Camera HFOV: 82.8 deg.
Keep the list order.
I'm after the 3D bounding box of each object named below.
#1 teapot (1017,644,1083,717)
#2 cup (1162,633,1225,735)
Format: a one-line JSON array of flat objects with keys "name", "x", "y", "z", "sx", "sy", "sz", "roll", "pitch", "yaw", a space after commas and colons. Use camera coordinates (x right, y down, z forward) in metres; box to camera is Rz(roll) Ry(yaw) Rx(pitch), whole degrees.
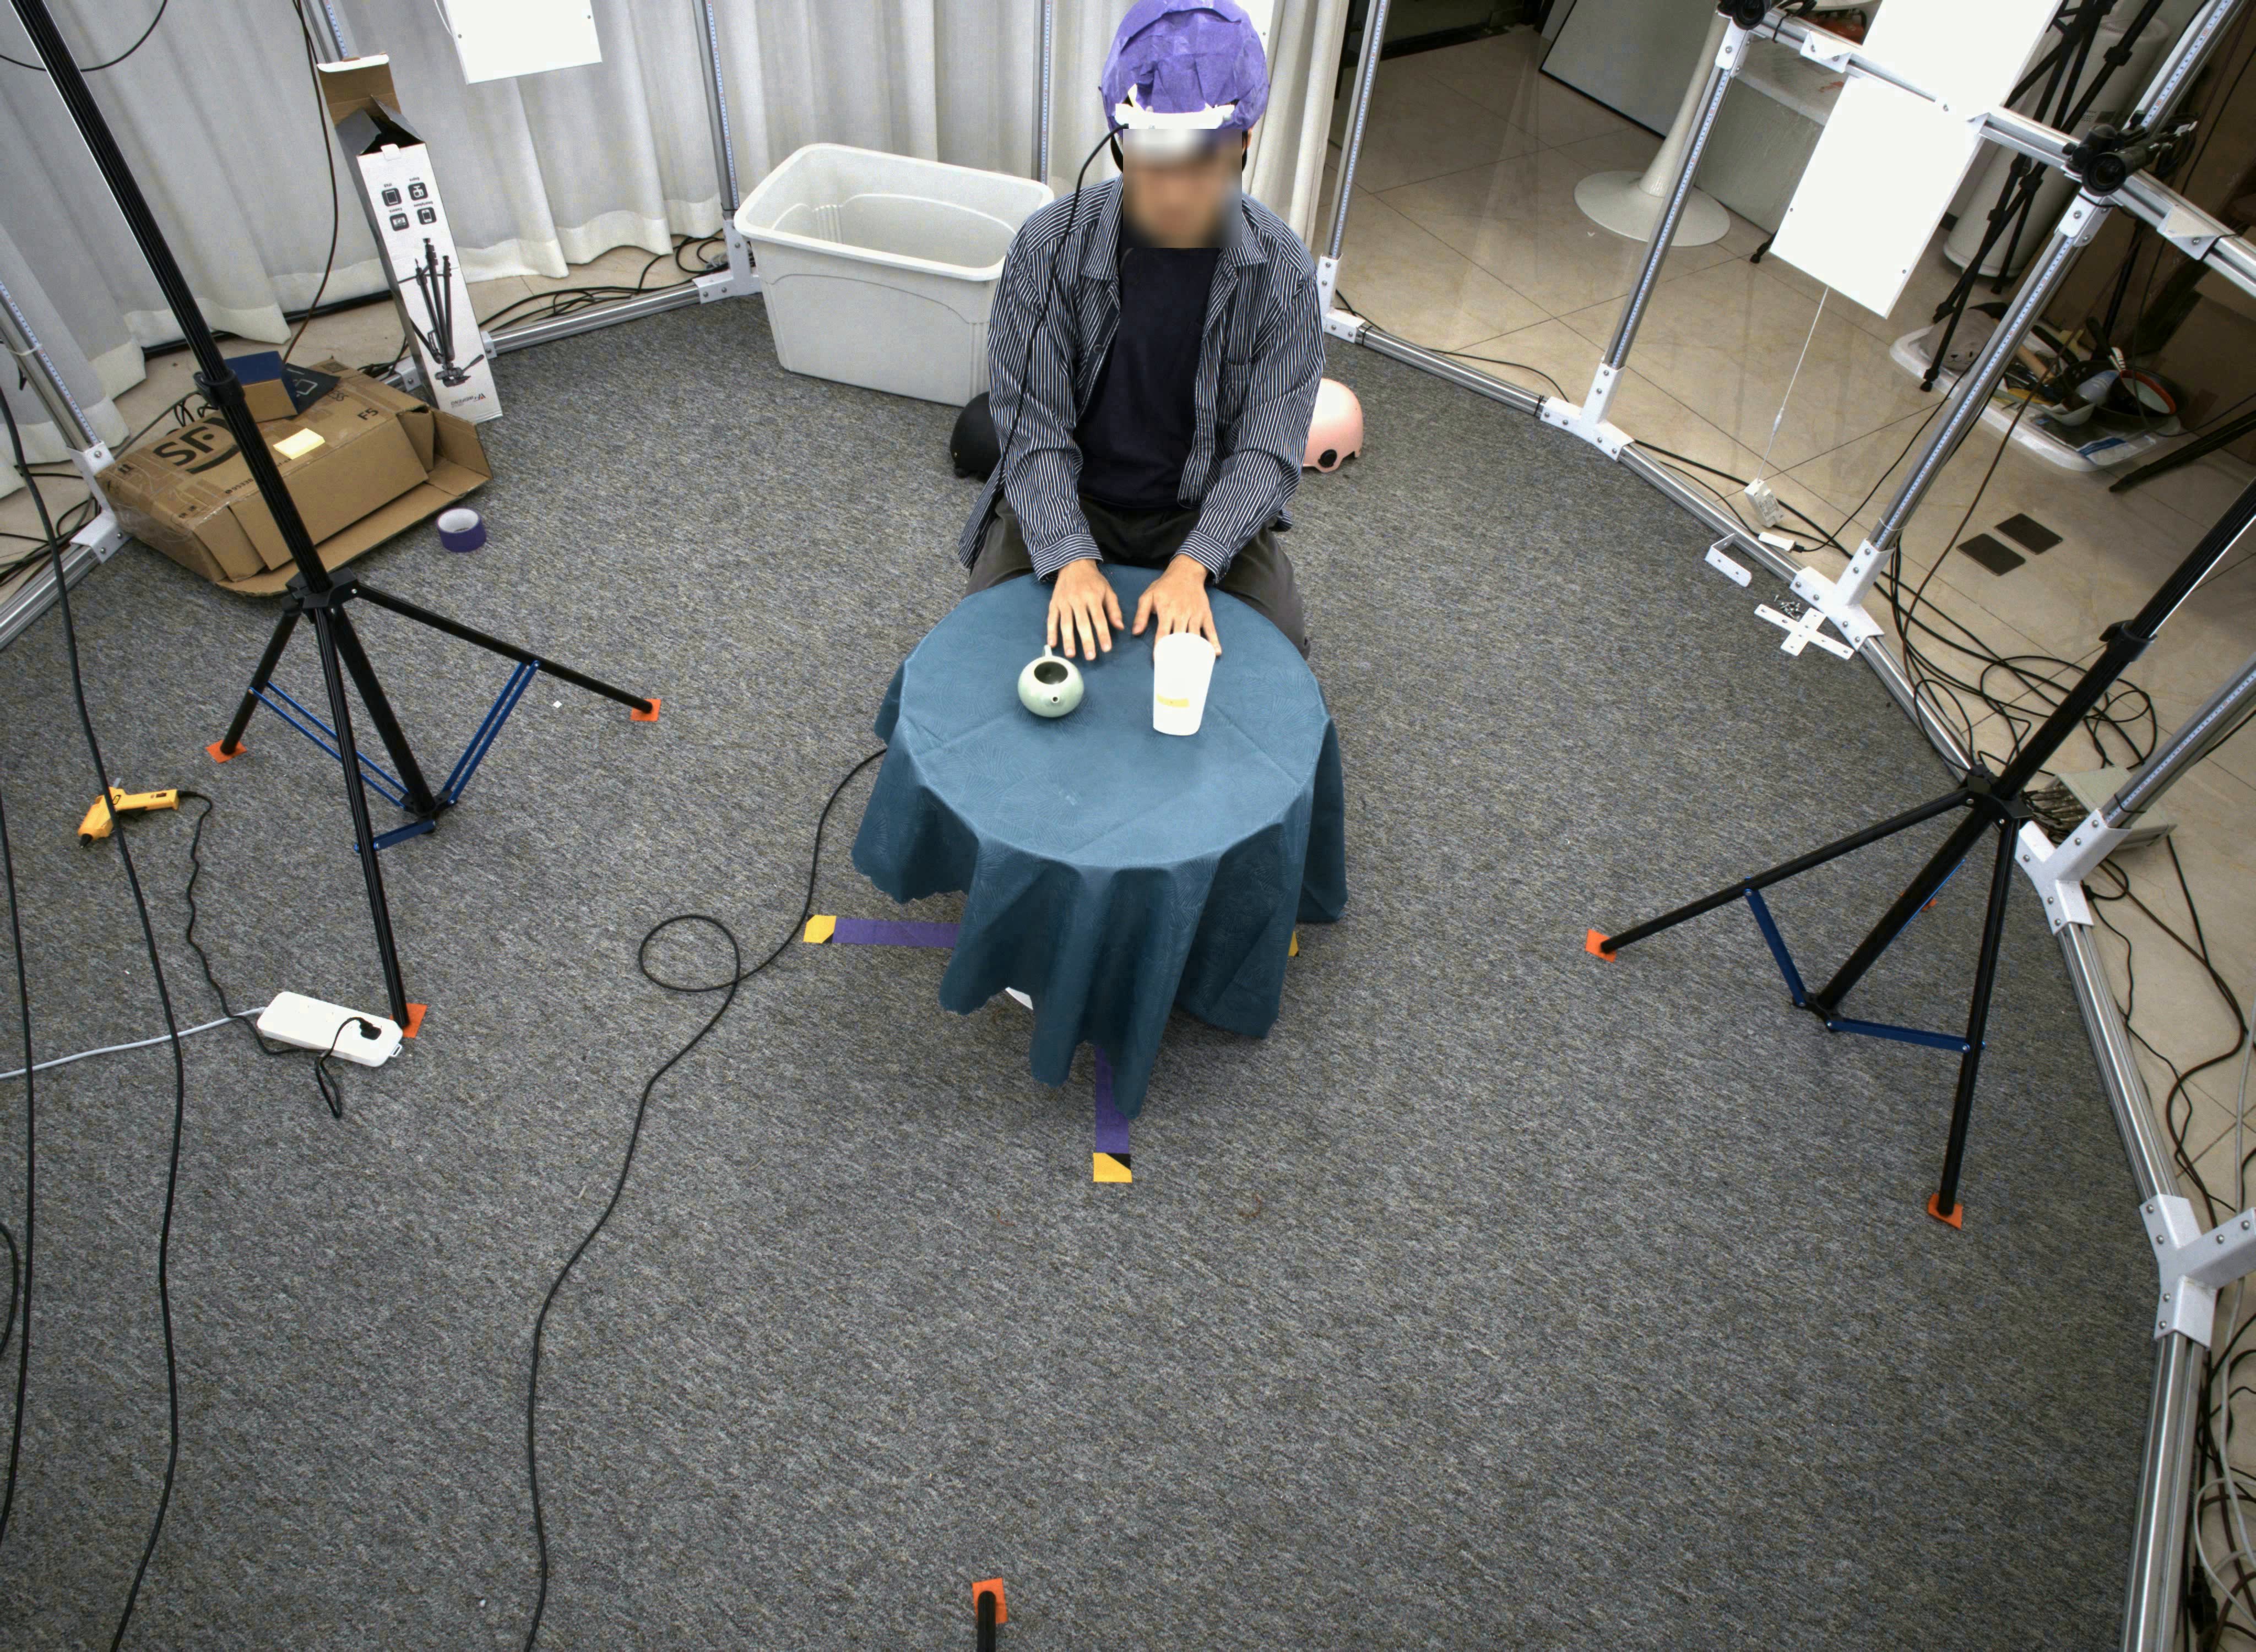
[{"name": "teapot", "x": -0.109, "y": -0.201, "z": 1.787, "sx": 0.091, "sy": 0.059, "sz": 0.132, "roll": -1, "pitch": 48, "yaw": -4}, {"name": "cup", "x": 0.085, "y": -0.190, "z": 1.747, "sx": 0.081, "sy": 0.122, "sz": 0.084, "roll": 3, "pitch": 49, "yaw": -3}]
